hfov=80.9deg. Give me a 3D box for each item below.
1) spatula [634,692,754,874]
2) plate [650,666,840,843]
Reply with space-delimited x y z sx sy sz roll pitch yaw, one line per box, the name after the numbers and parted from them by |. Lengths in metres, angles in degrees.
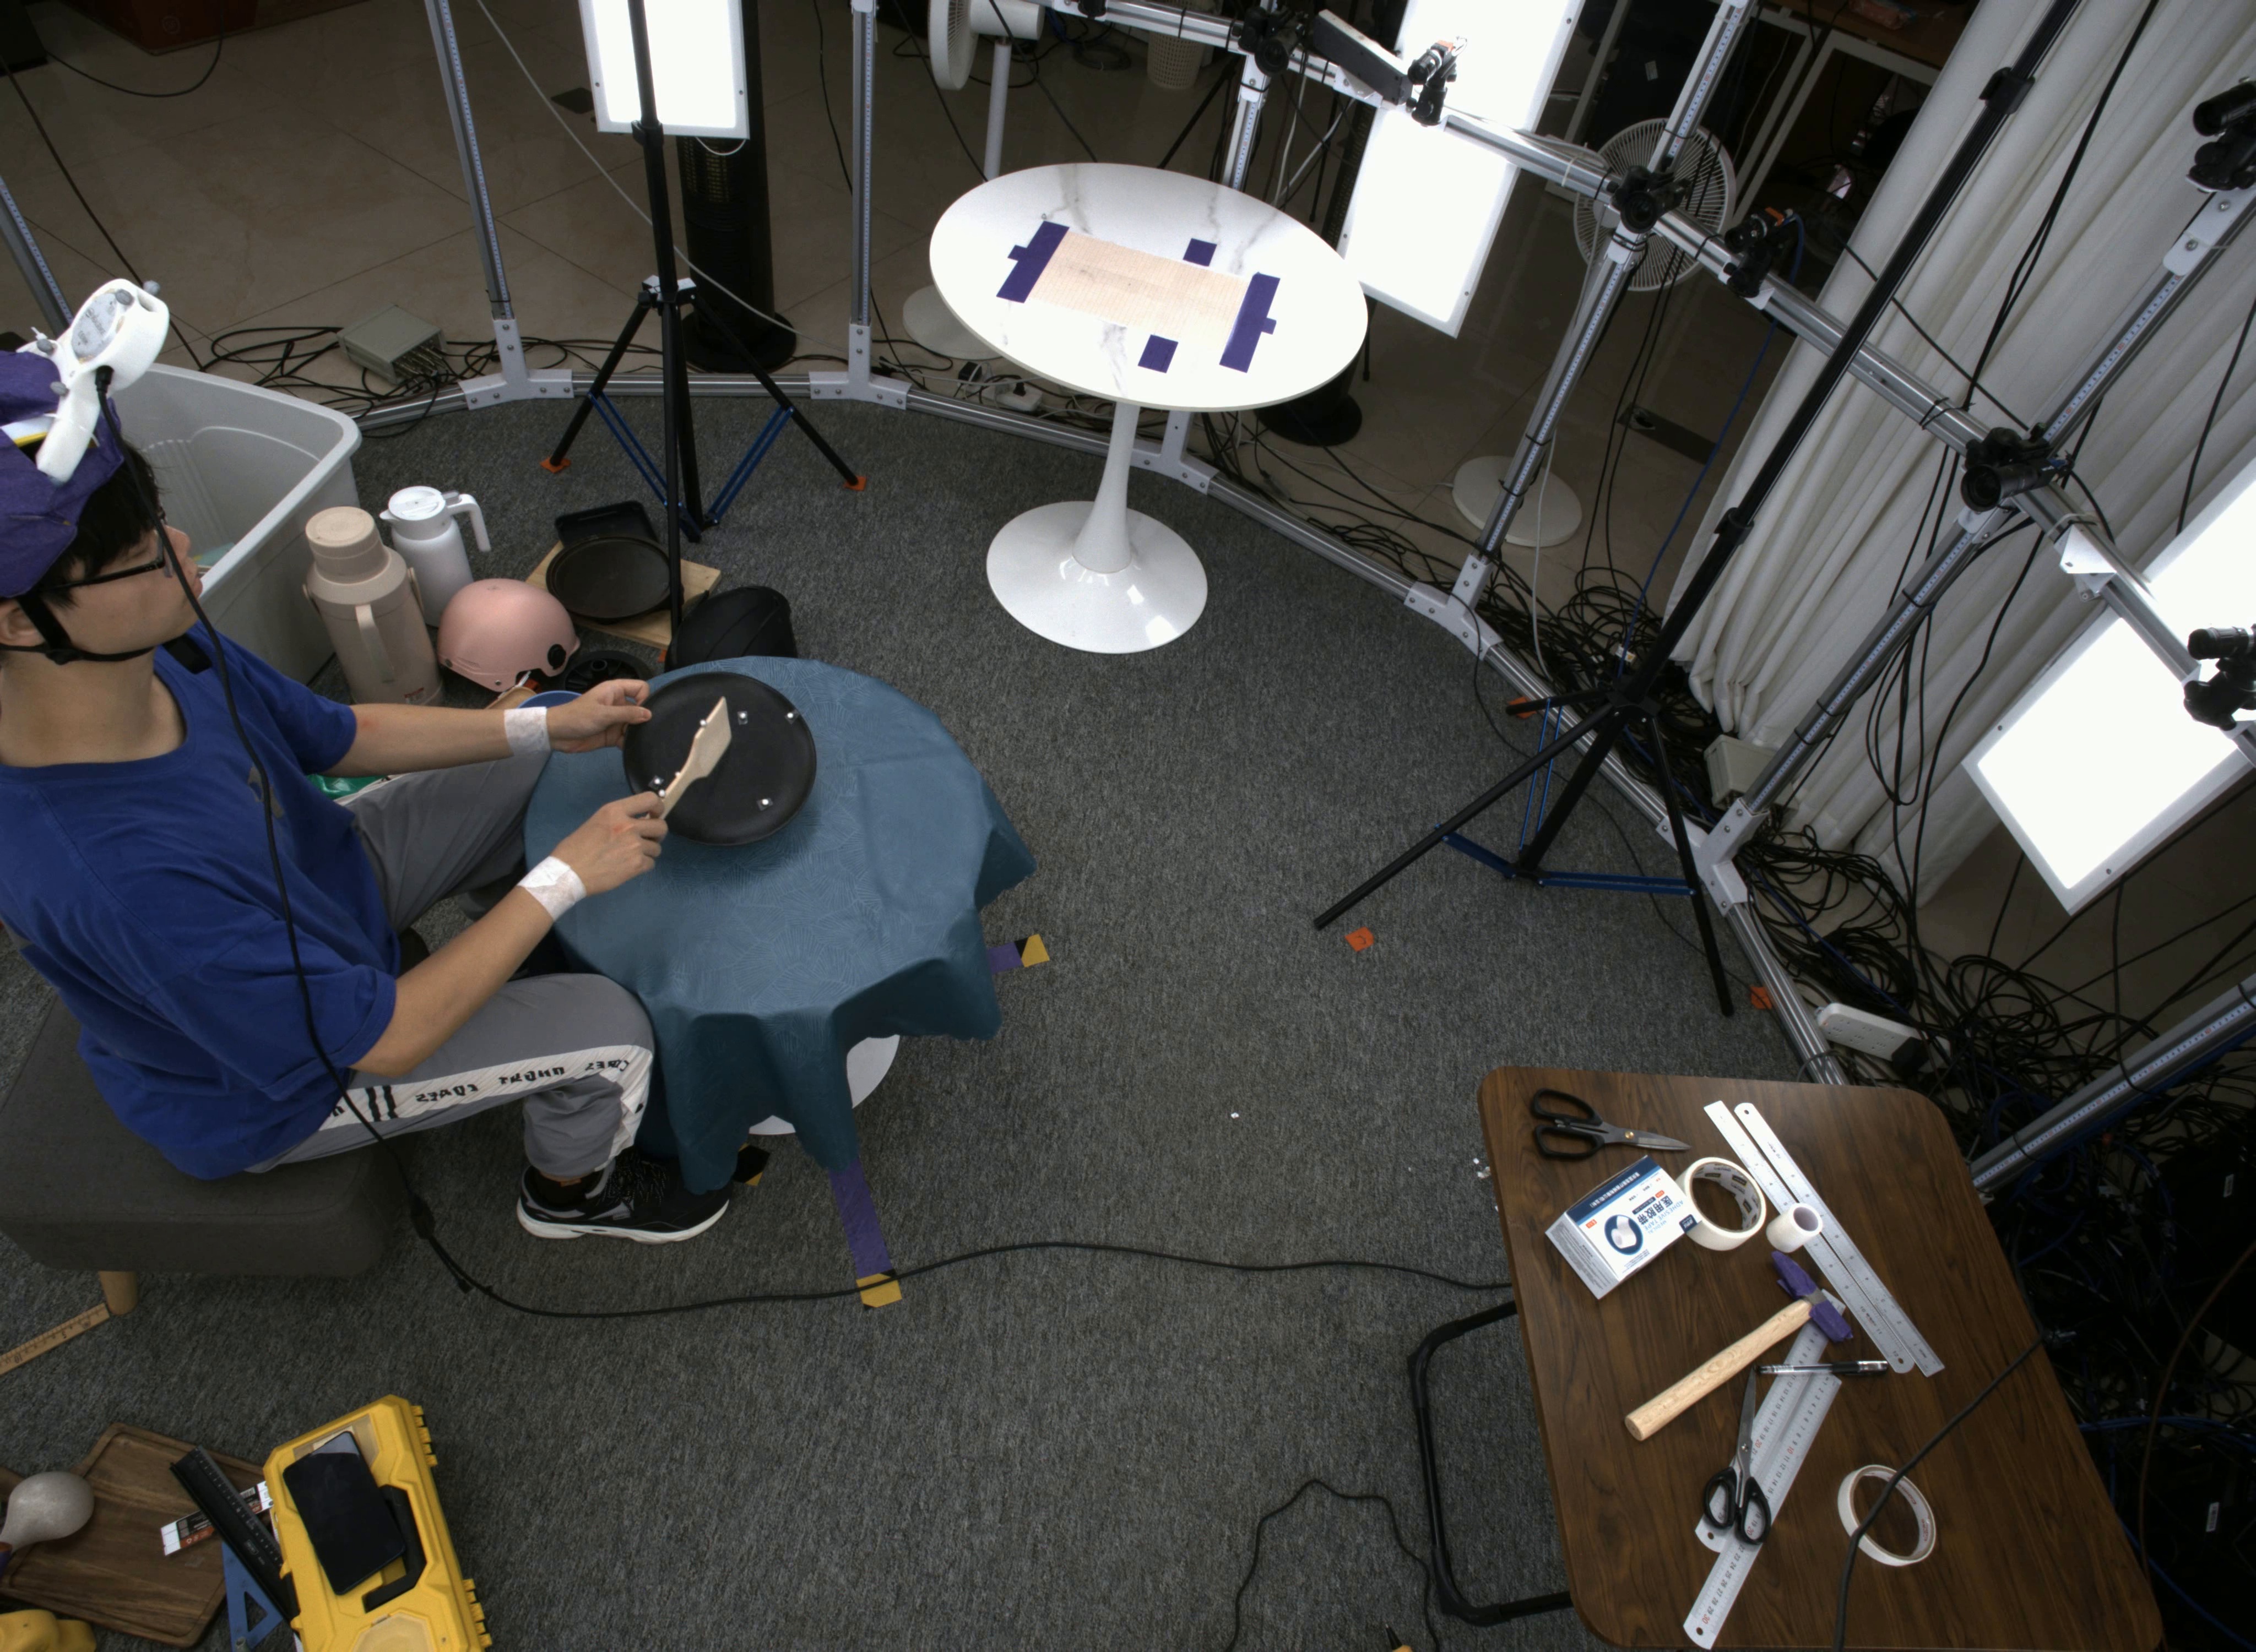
-0.523 -0.051 1.561 0.010 0.074 0.290 16 47 7 | spatula
-0.498 -0.093 1.684 0.247 0.023 0.243 9 70 -22 | plate
